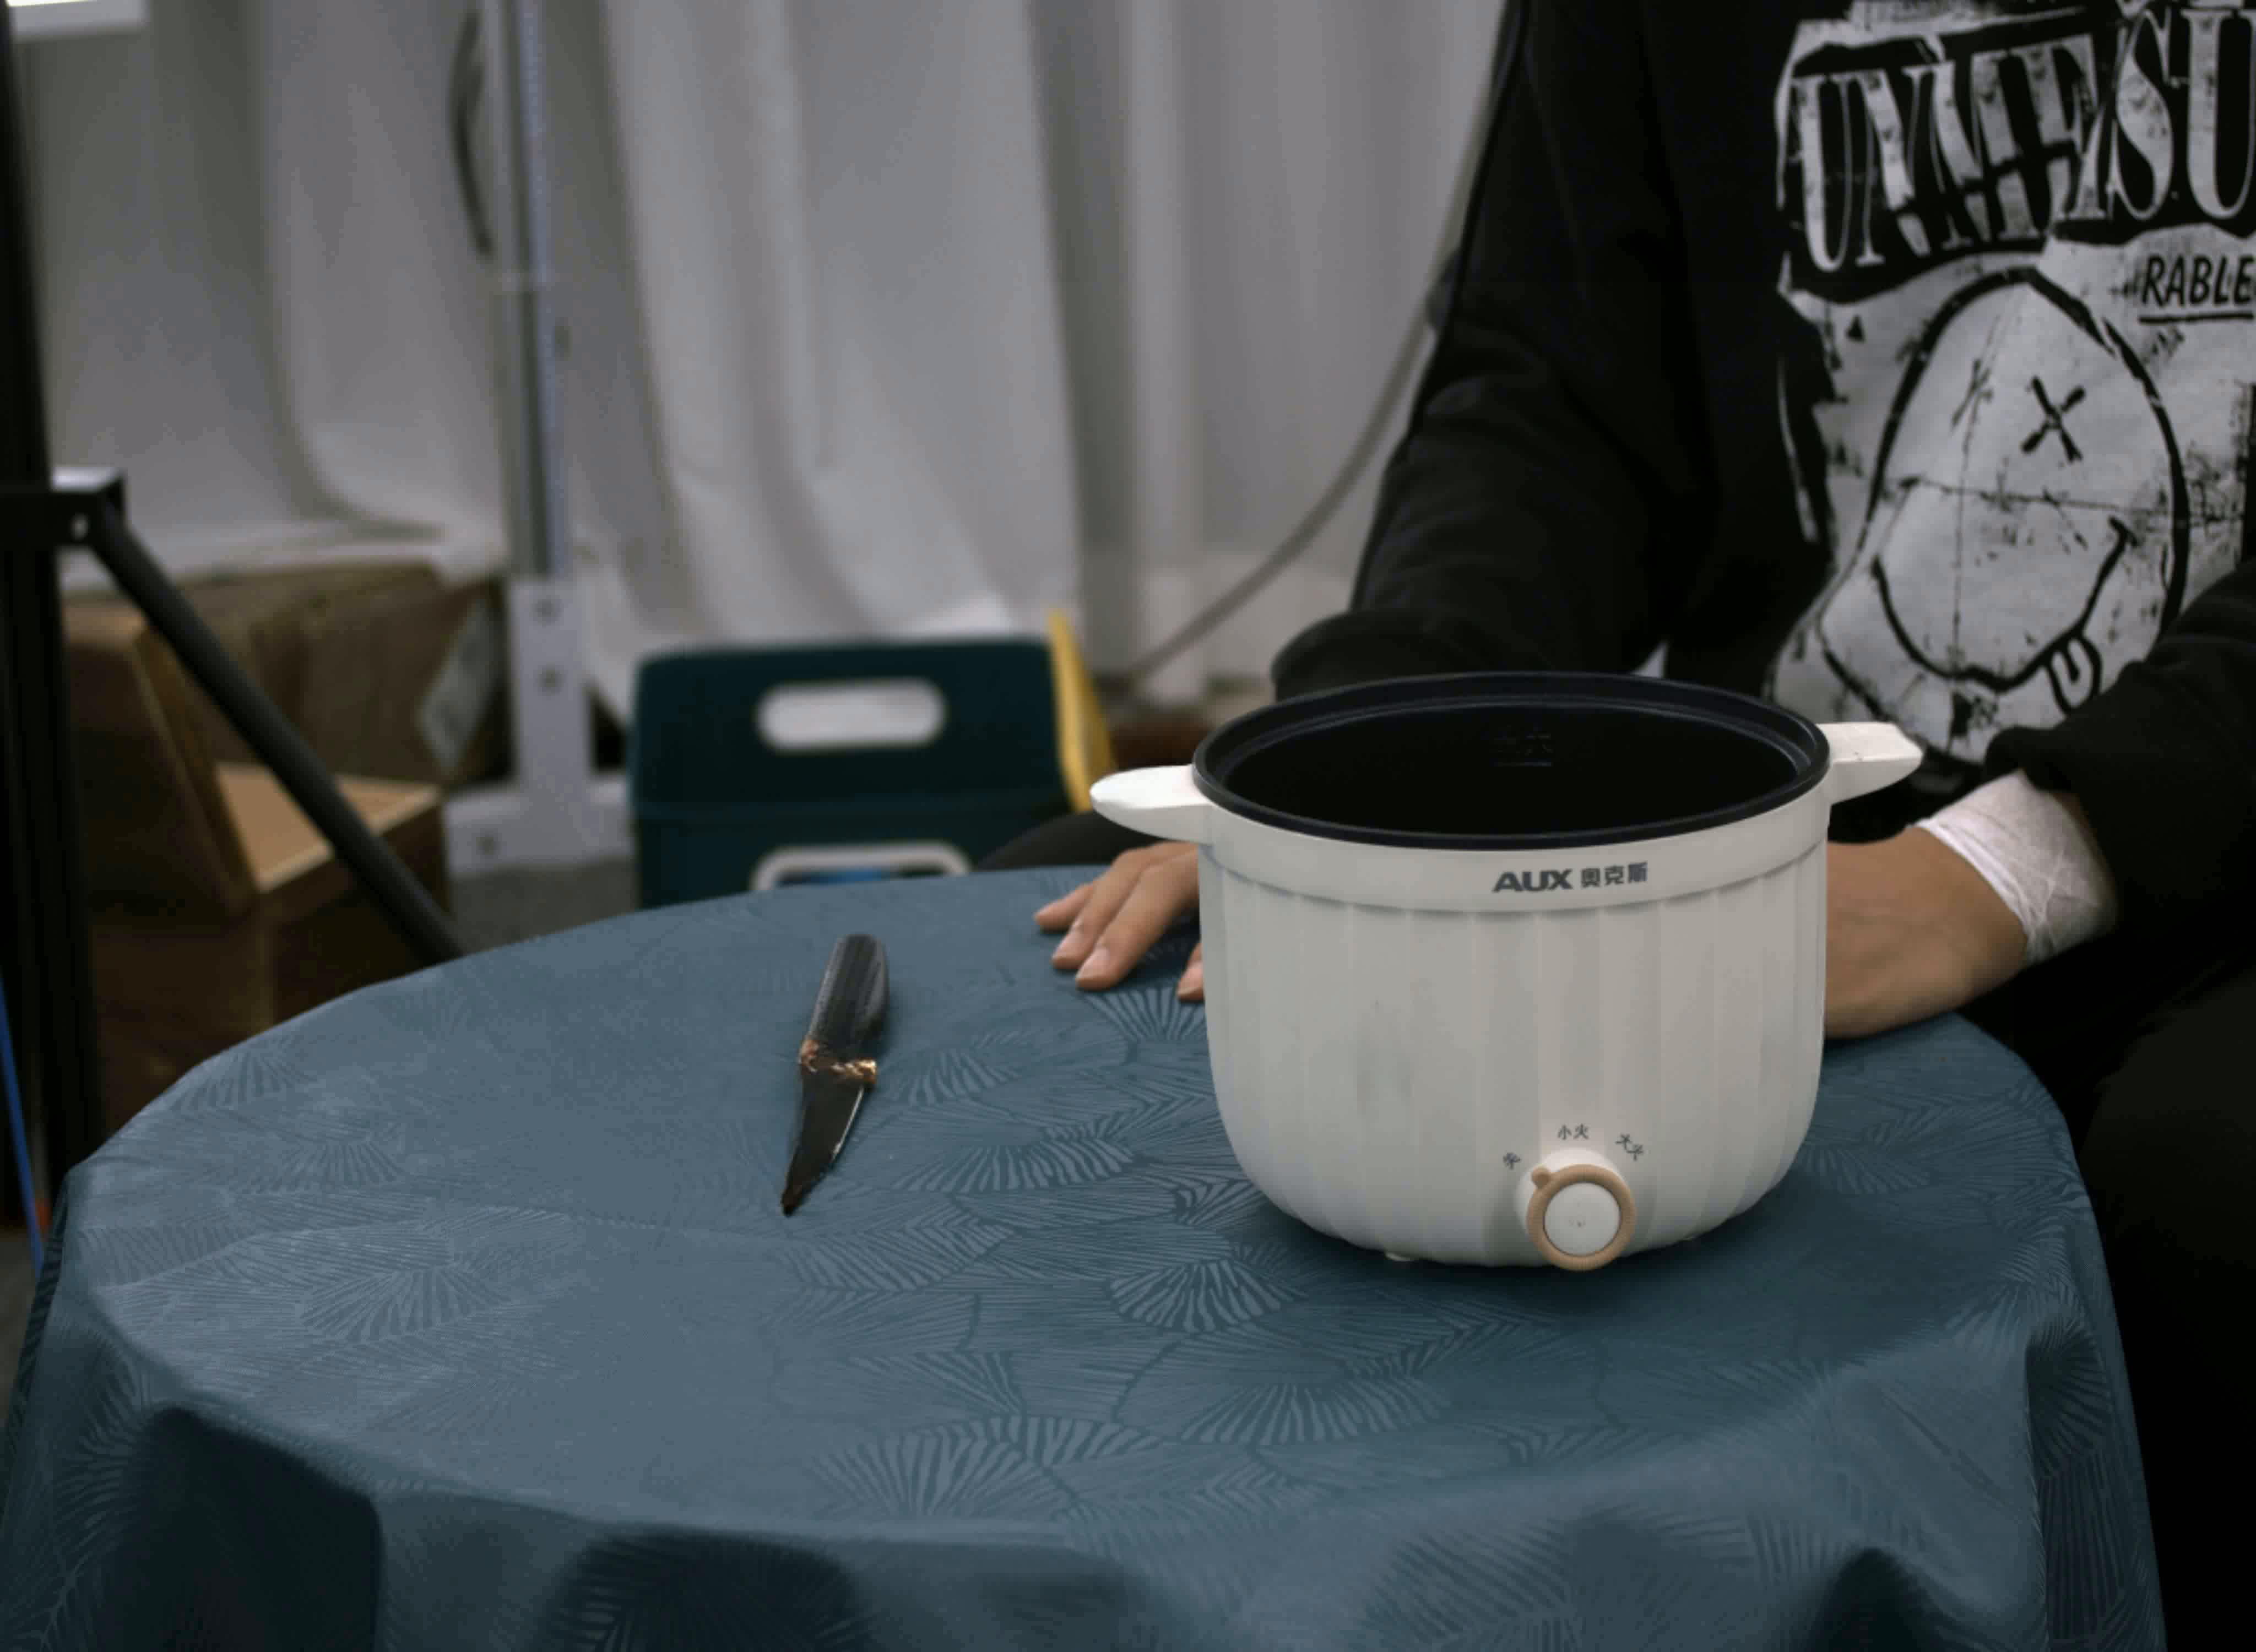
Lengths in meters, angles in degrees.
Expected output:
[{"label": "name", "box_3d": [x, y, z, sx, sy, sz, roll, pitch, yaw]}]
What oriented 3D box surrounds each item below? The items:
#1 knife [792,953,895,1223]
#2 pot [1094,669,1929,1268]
[{"label": "knife", "box_3d": [-0.091, 0.080, 1.654, 0.026, 0.017, 0.226, 13, 17, -1]}, {"label": "pot", "box_3d": [0.113, 0.043, 1.510, 0.238, 0.143, 0.192, -5, 12, -5]}]
